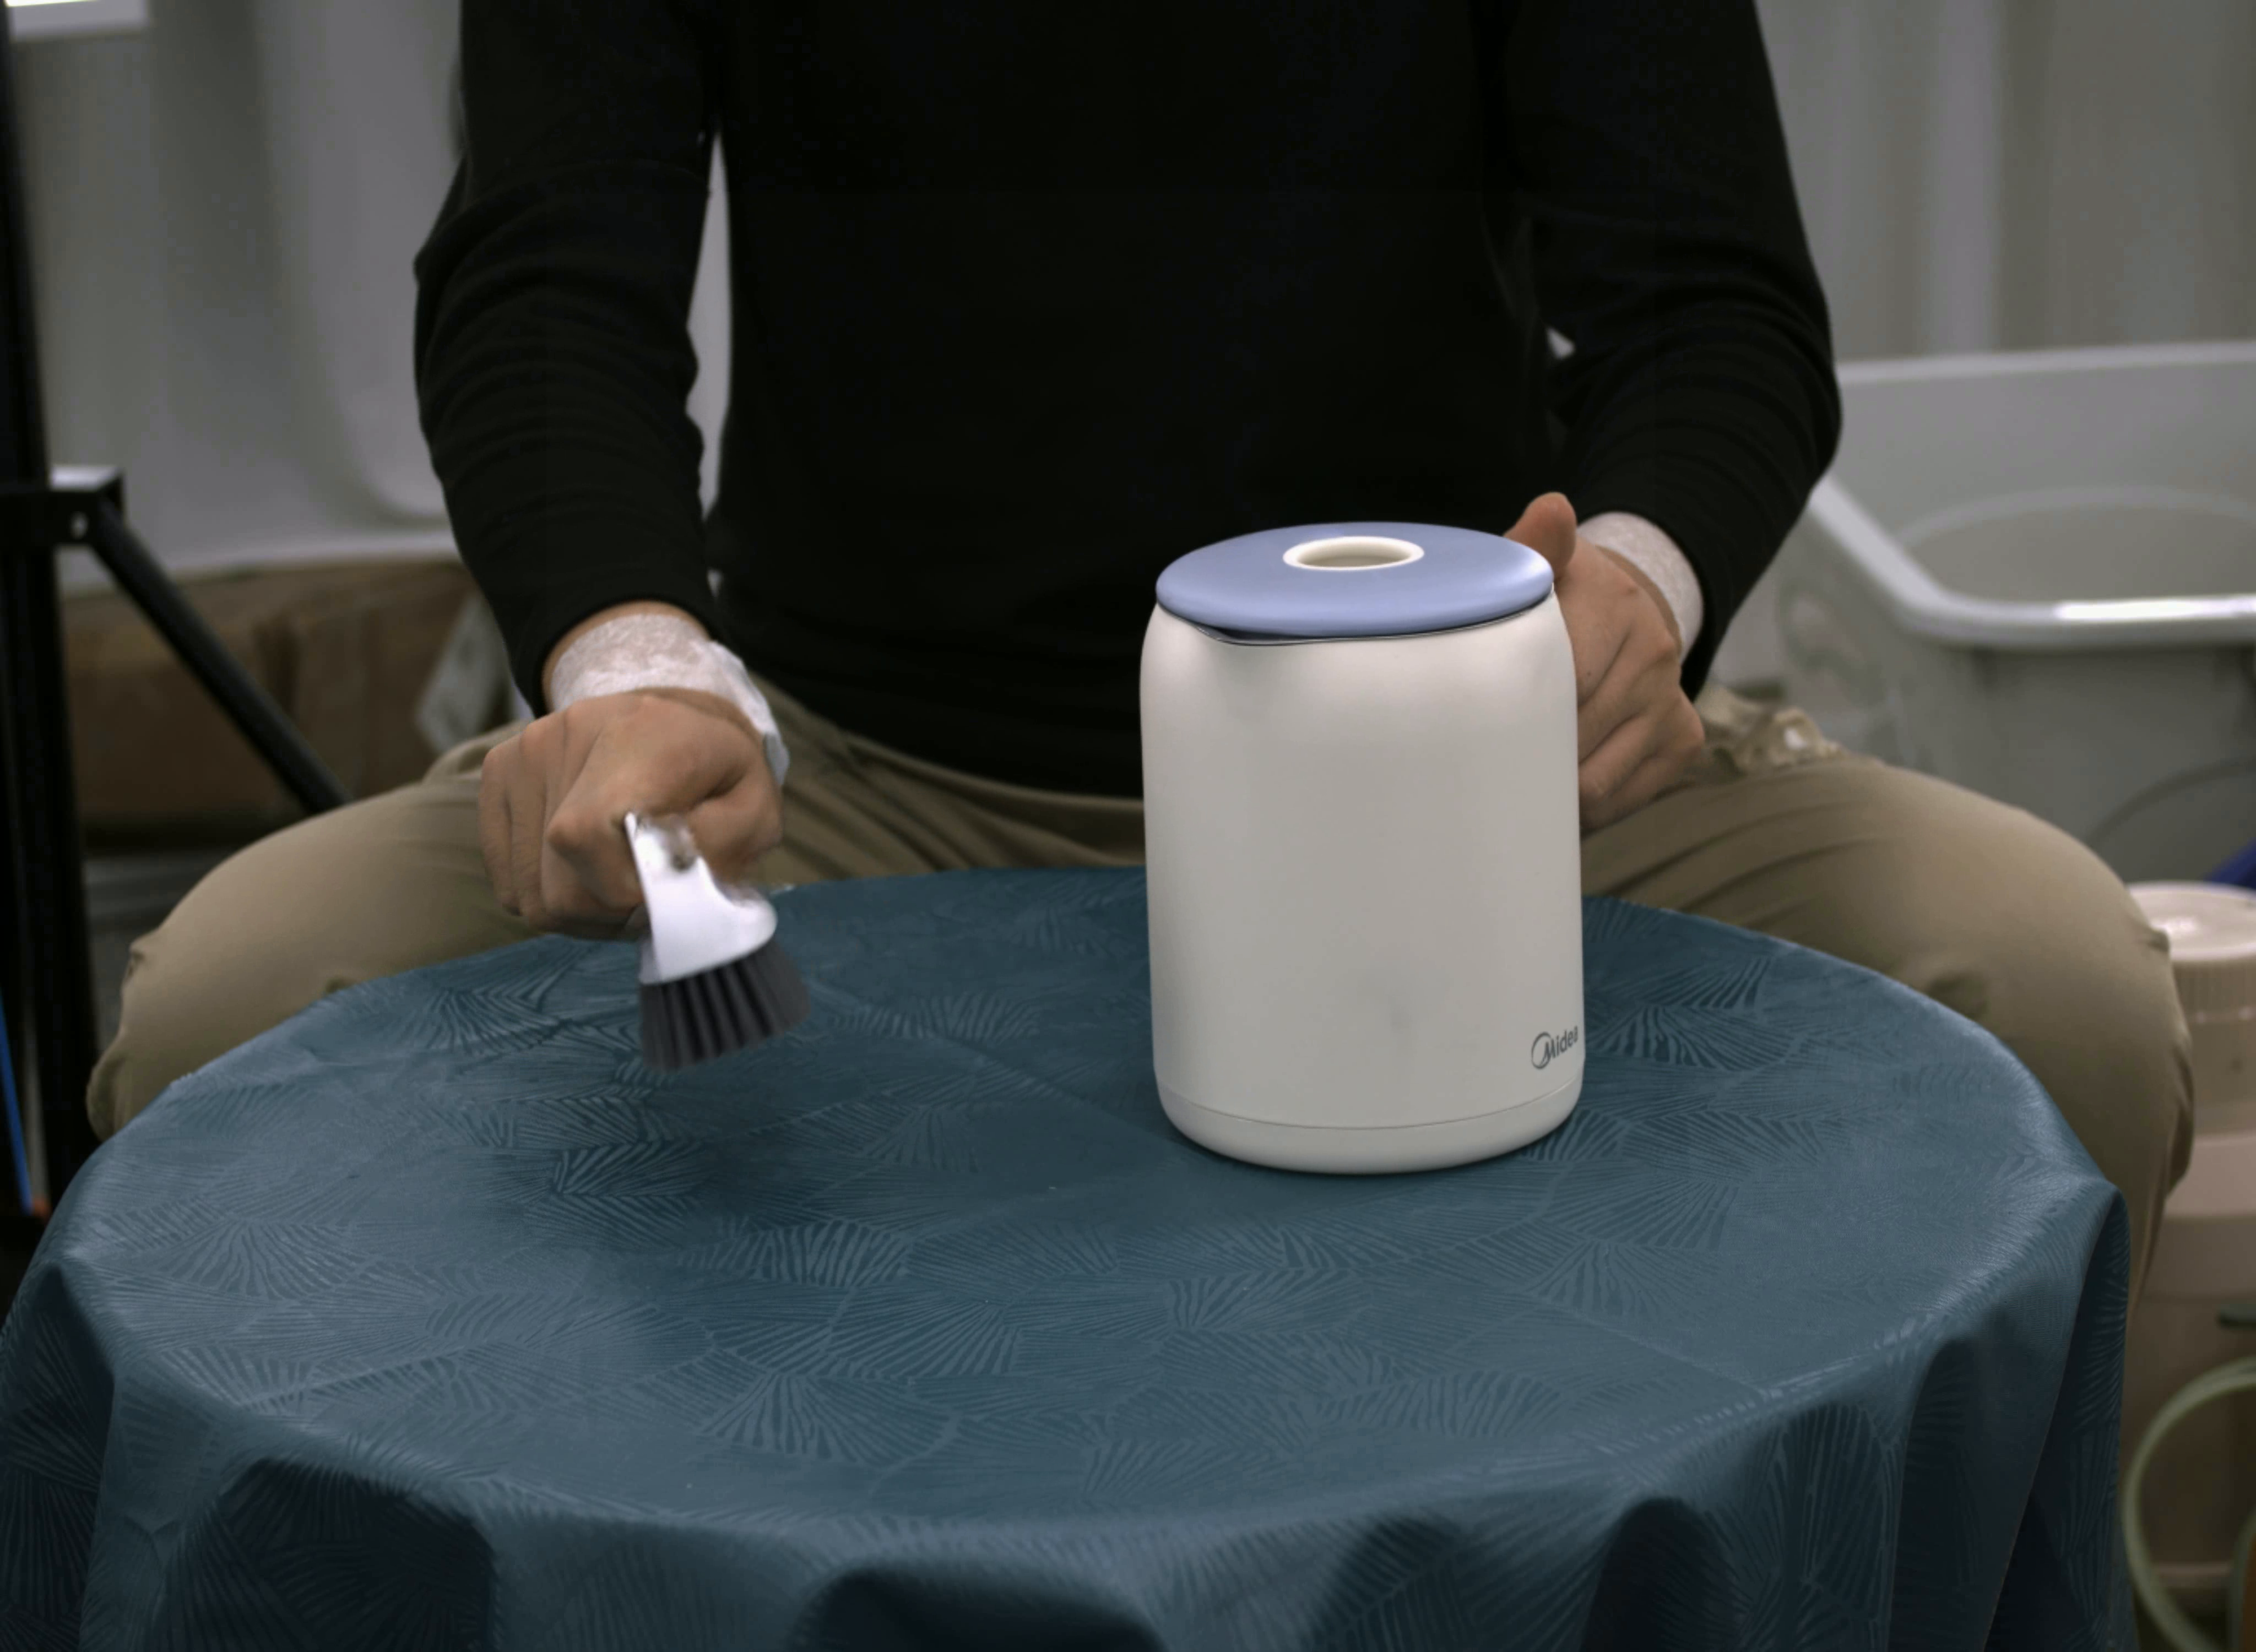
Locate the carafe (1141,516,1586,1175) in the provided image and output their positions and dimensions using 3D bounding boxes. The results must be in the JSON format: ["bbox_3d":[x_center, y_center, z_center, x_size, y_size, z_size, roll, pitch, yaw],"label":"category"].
[{"bbox_3d":[0.084,-0.001,1.614,0.135,0.182,0.187,7,17,31],"label":"carafe"}]

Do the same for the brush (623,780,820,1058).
[{"bbox_3d":[-0.127,0.022,1.573,0.050,0.072,0.099,-22,7,-1],"label":"brush"}]
